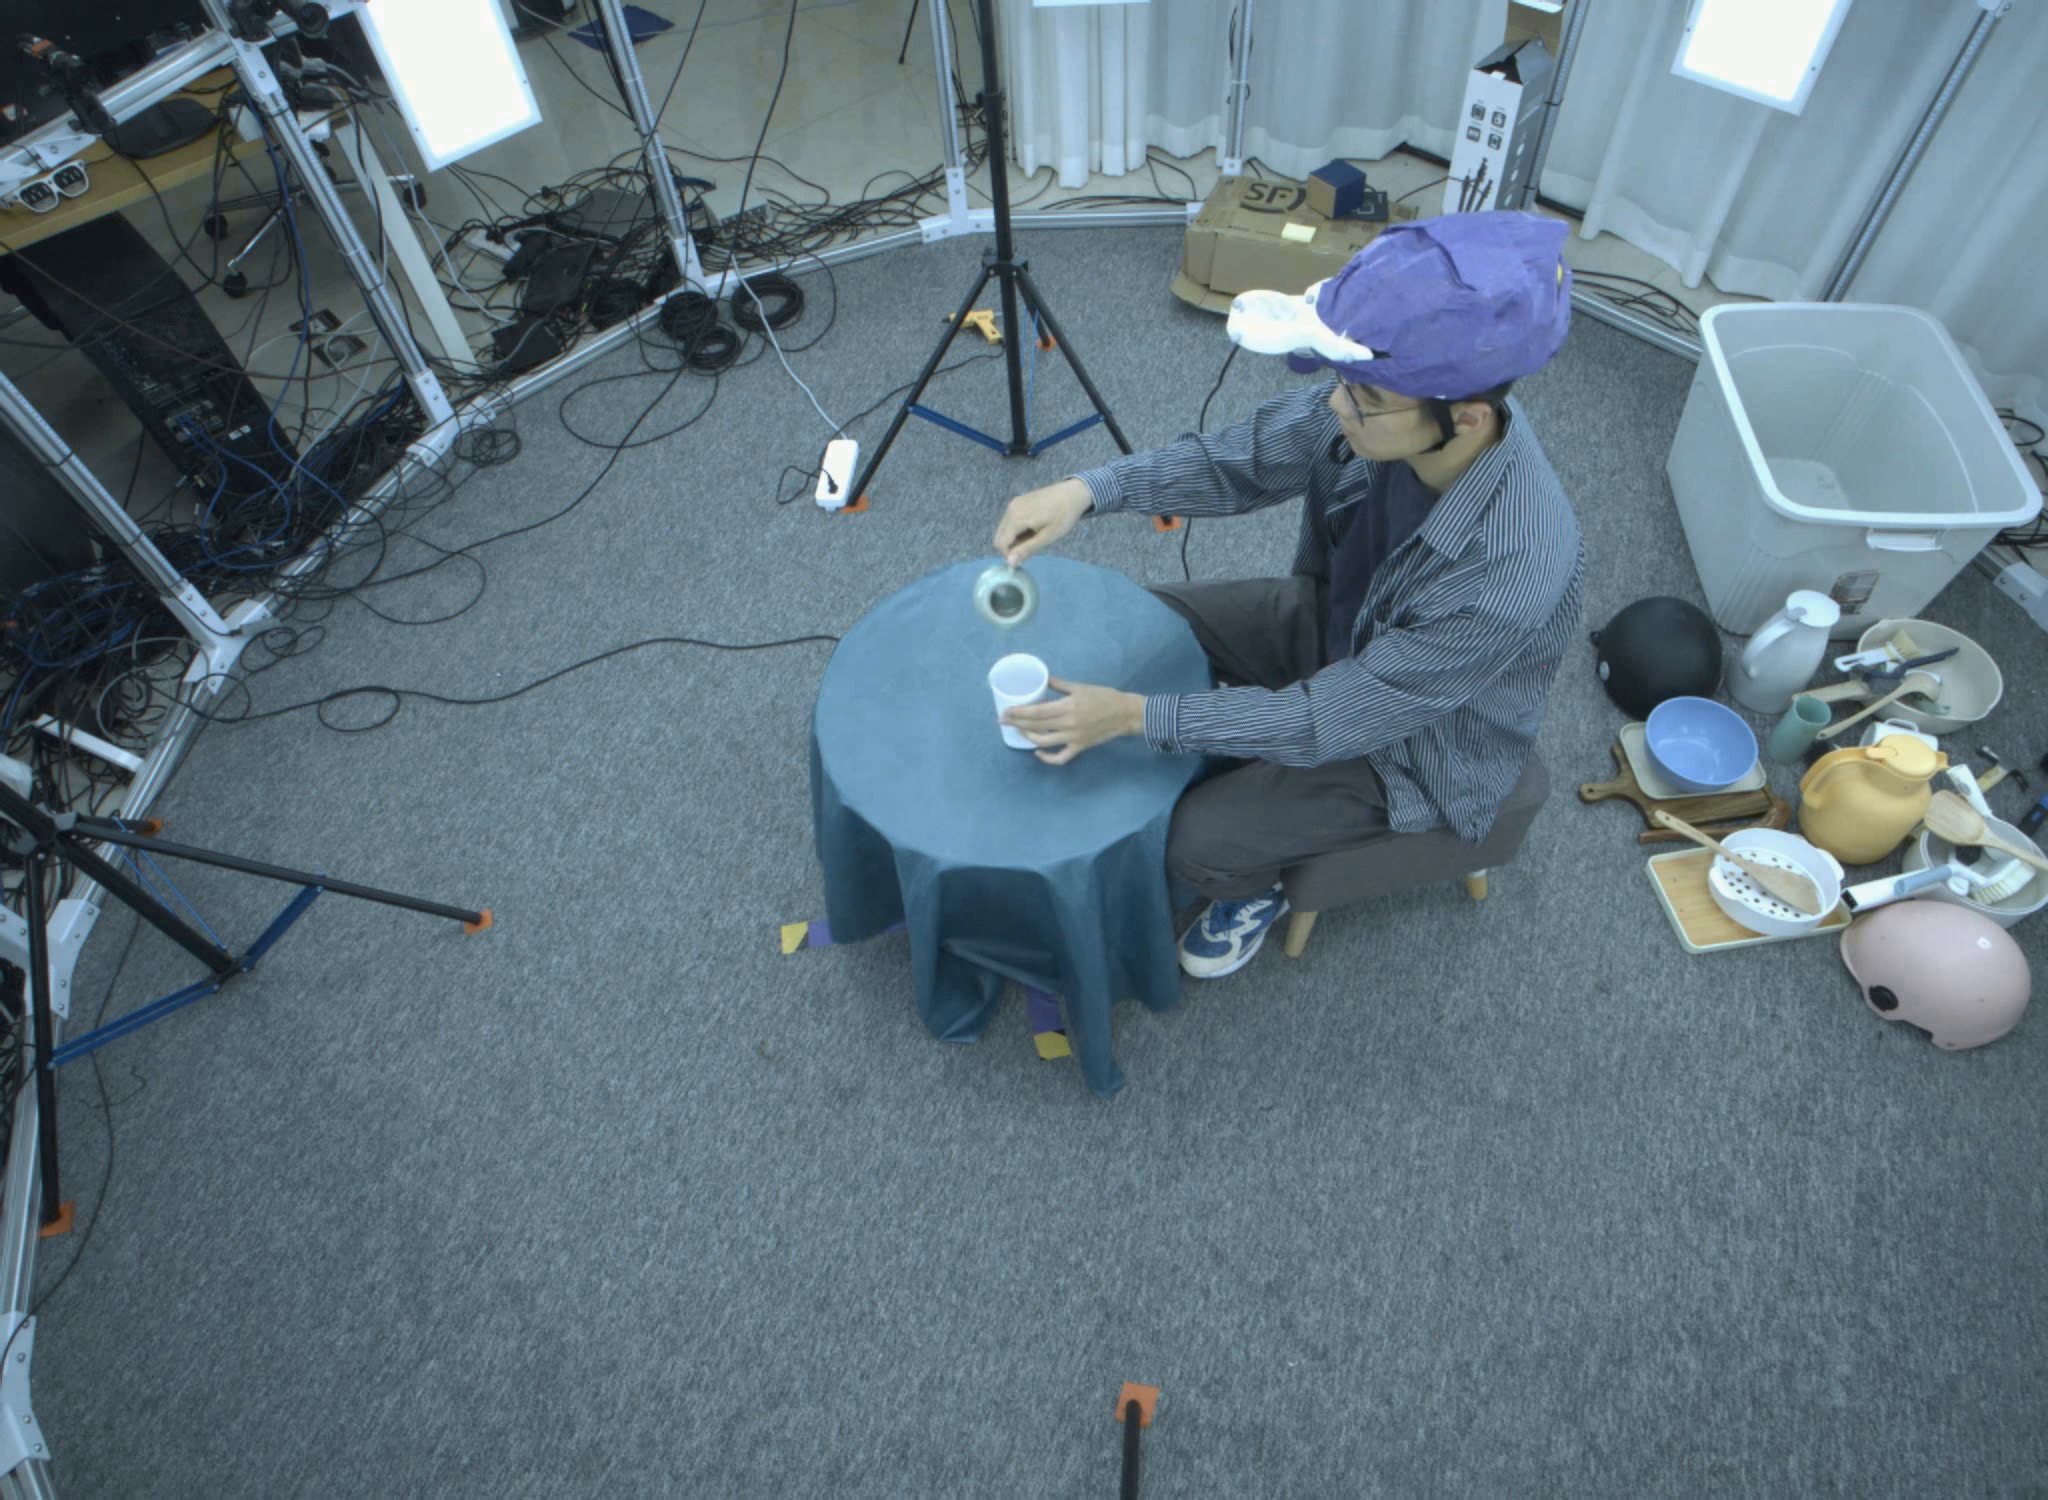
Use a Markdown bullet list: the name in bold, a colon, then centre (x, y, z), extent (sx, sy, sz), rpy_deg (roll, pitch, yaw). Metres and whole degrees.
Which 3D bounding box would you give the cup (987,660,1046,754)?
- **cup**: centre (-0.006, -0.056, 1.749), extent (0.081, 0.127, 0.081), rpy_deg (-1, 53, 3)

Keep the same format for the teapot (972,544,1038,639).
- **teapot**: centre (-0.024, -0.221, 1.690), extent (0.092, 0.129, 0.060), rpy_deg (11, 21, -9)
